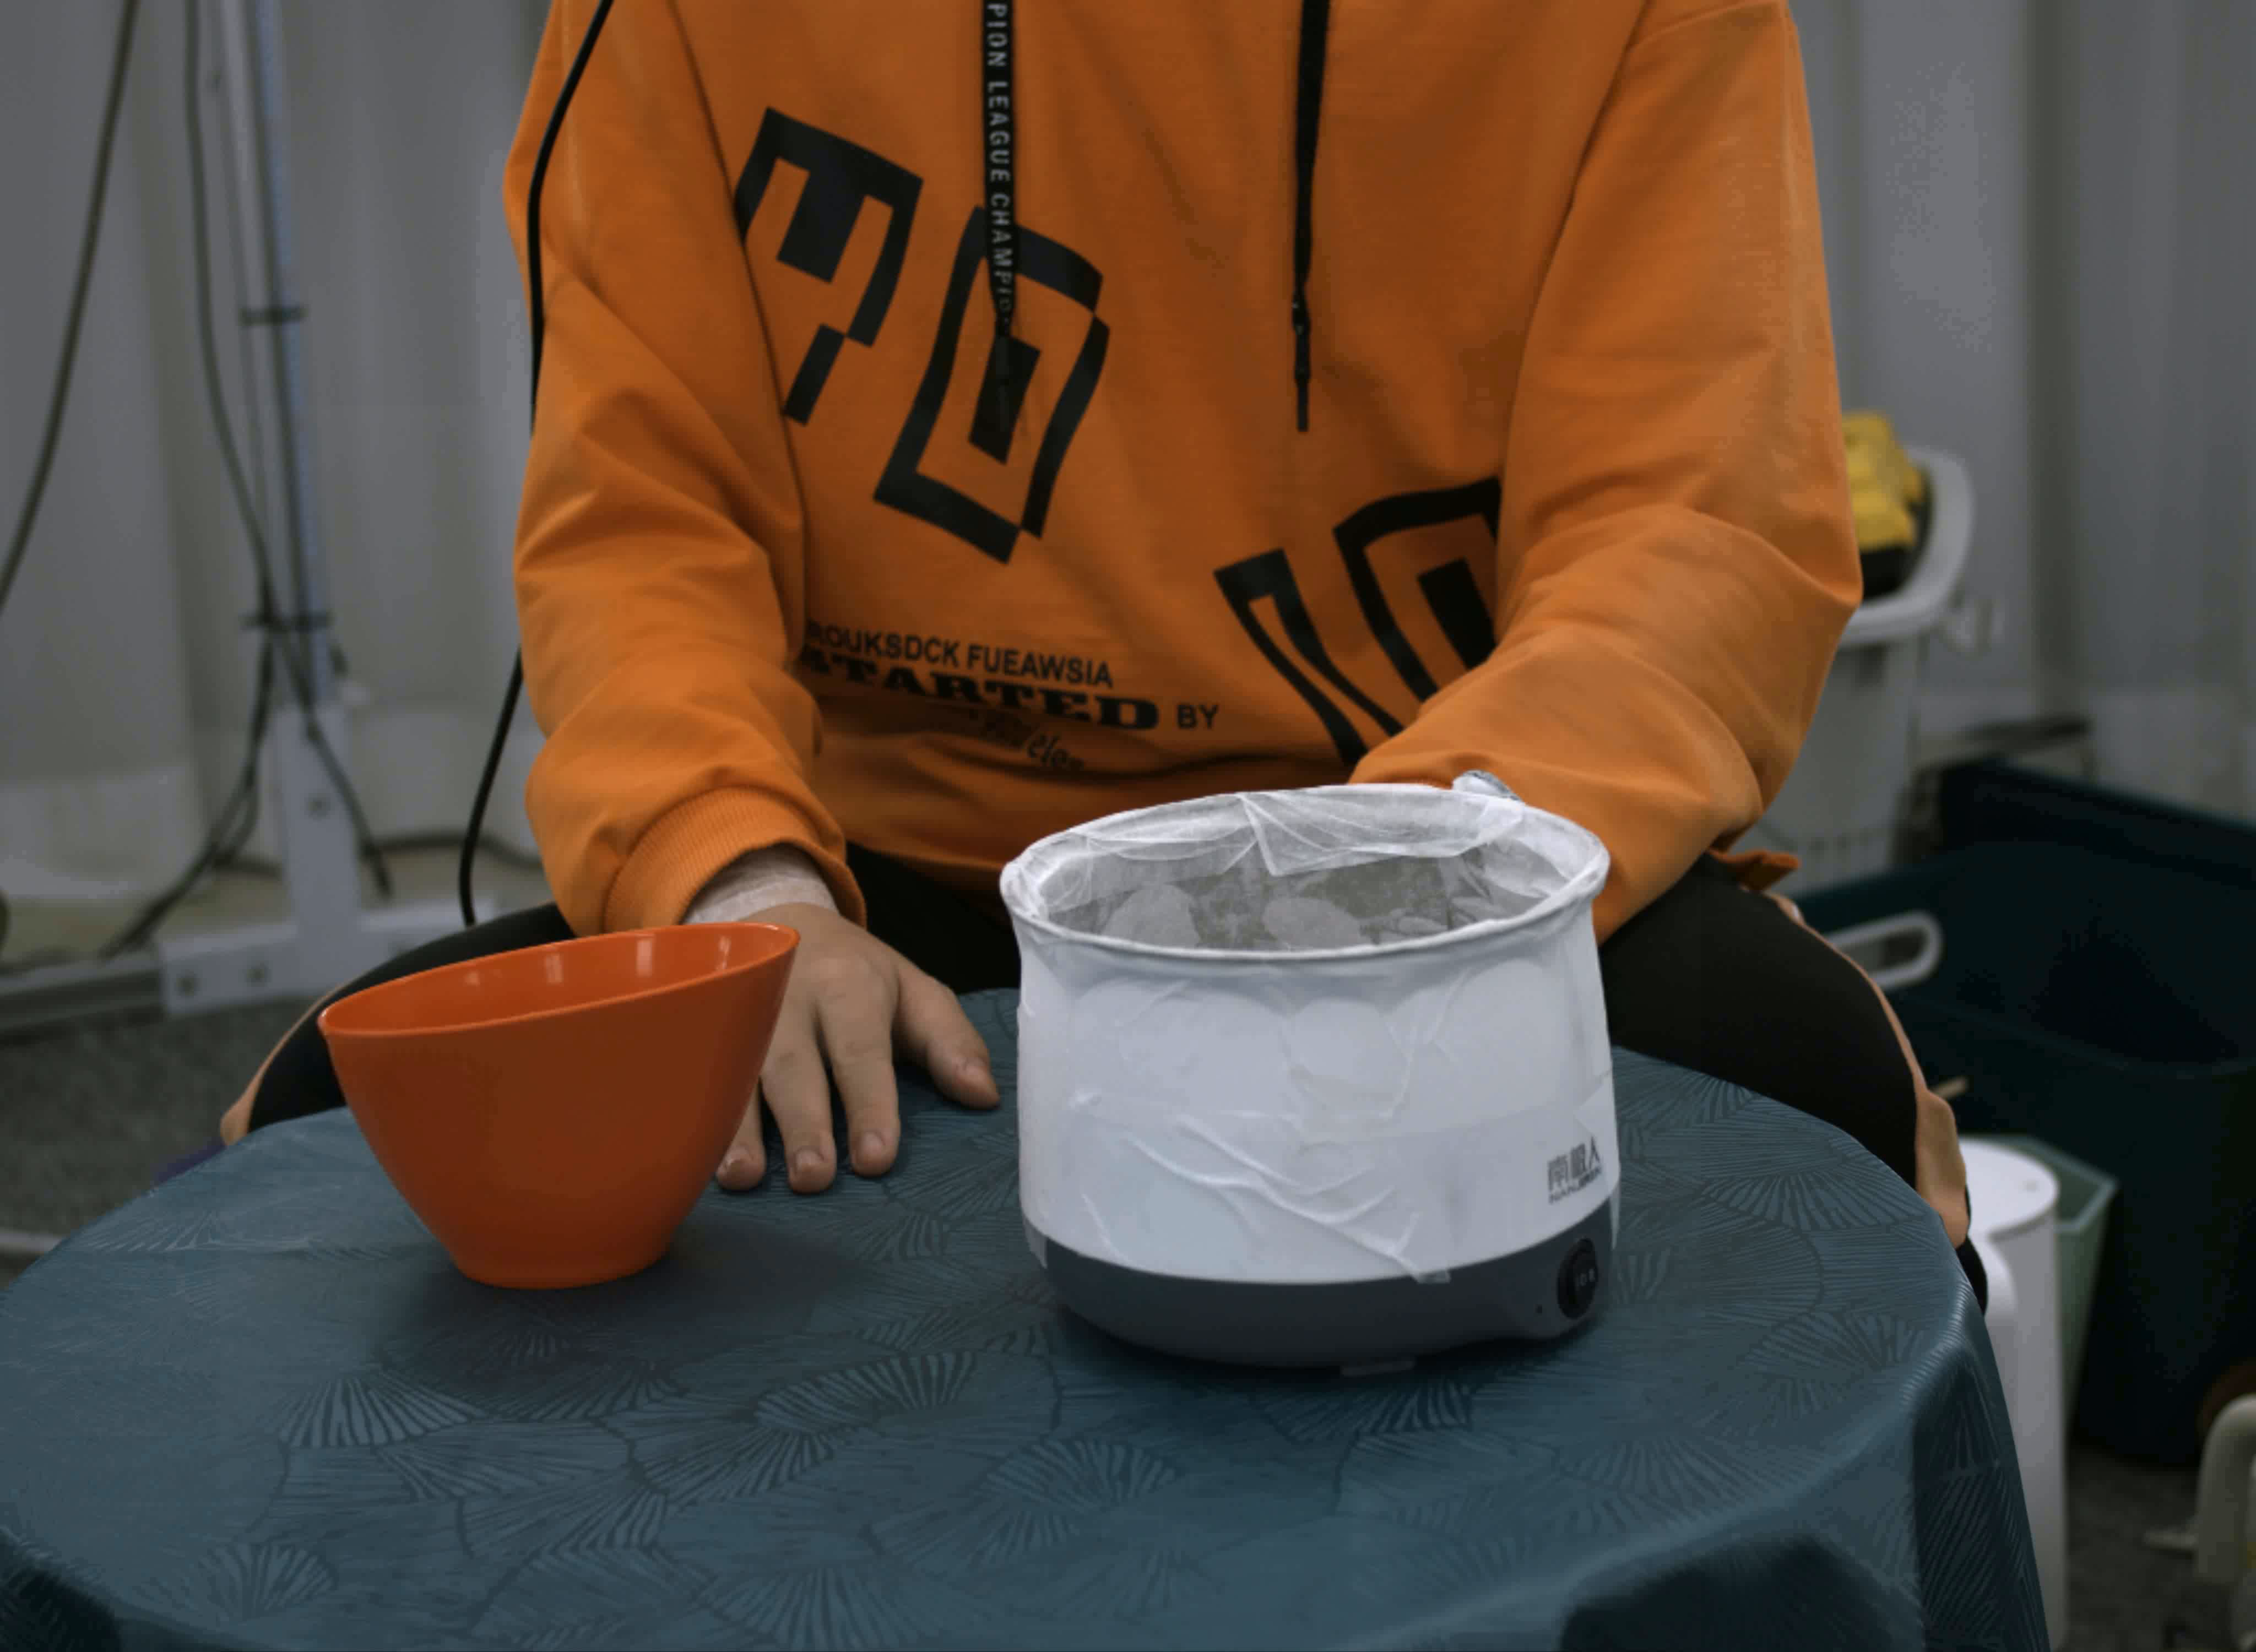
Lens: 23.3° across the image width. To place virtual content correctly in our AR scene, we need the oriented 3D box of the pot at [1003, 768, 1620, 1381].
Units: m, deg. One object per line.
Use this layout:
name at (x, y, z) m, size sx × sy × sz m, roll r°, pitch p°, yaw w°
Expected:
pot at (0.069, 0.066, 1.620) m, size 0.179 × 0.136 × 0.234 m, roll 7°, pitch 18°, yaw 32°

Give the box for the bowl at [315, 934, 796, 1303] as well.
bowl at (-0.171, 0.088, 1.665) m, size 0.147 × 0.104 × 0.149 m, roll -4°, pitch 13°, yaw 1°
